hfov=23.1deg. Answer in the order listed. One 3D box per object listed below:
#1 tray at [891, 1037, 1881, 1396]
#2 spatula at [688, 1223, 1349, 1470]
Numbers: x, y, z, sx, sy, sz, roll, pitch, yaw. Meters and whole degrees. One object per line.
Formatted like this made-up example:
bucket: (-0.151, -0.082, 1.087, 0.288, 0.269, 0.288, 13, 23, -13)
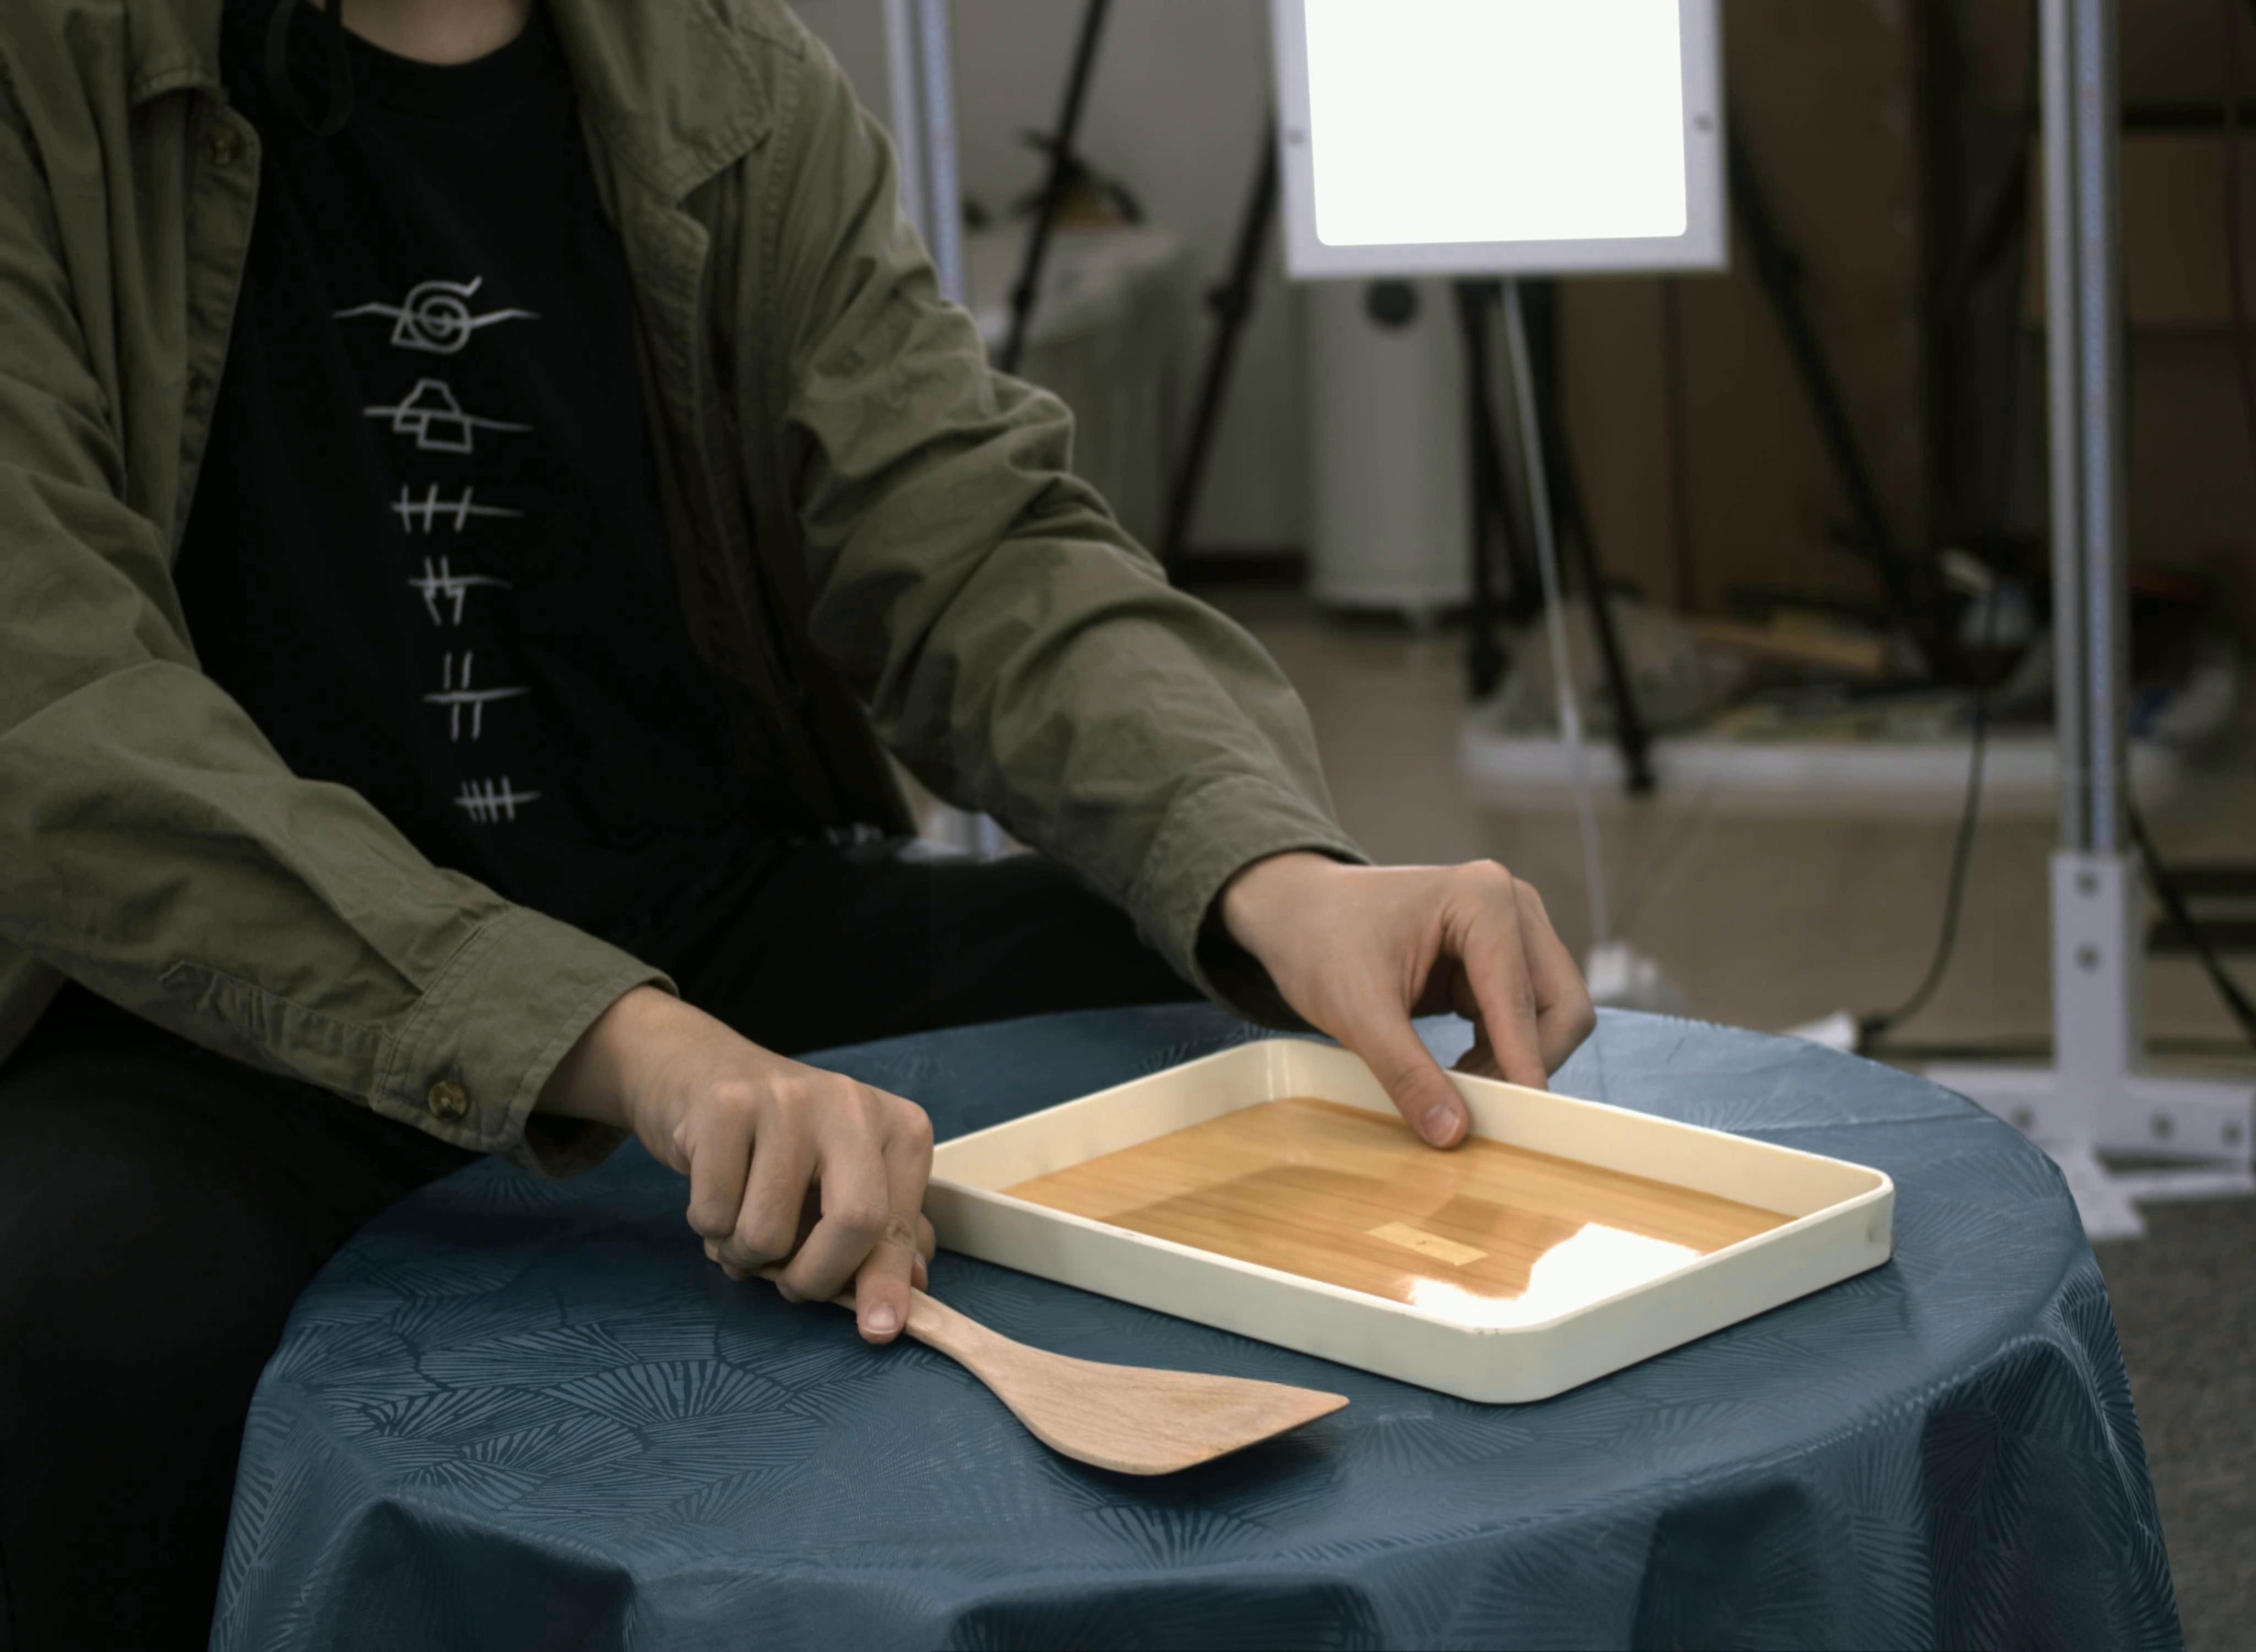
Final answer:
tray: (0.082, 0.124, 1.814, 0.187, 0.027, 0.307, -16, 17, -38)
spatula: (-0.049, 0.159, 1.744, 0.078, 0.016, 0.334, -14, 16, -32)
